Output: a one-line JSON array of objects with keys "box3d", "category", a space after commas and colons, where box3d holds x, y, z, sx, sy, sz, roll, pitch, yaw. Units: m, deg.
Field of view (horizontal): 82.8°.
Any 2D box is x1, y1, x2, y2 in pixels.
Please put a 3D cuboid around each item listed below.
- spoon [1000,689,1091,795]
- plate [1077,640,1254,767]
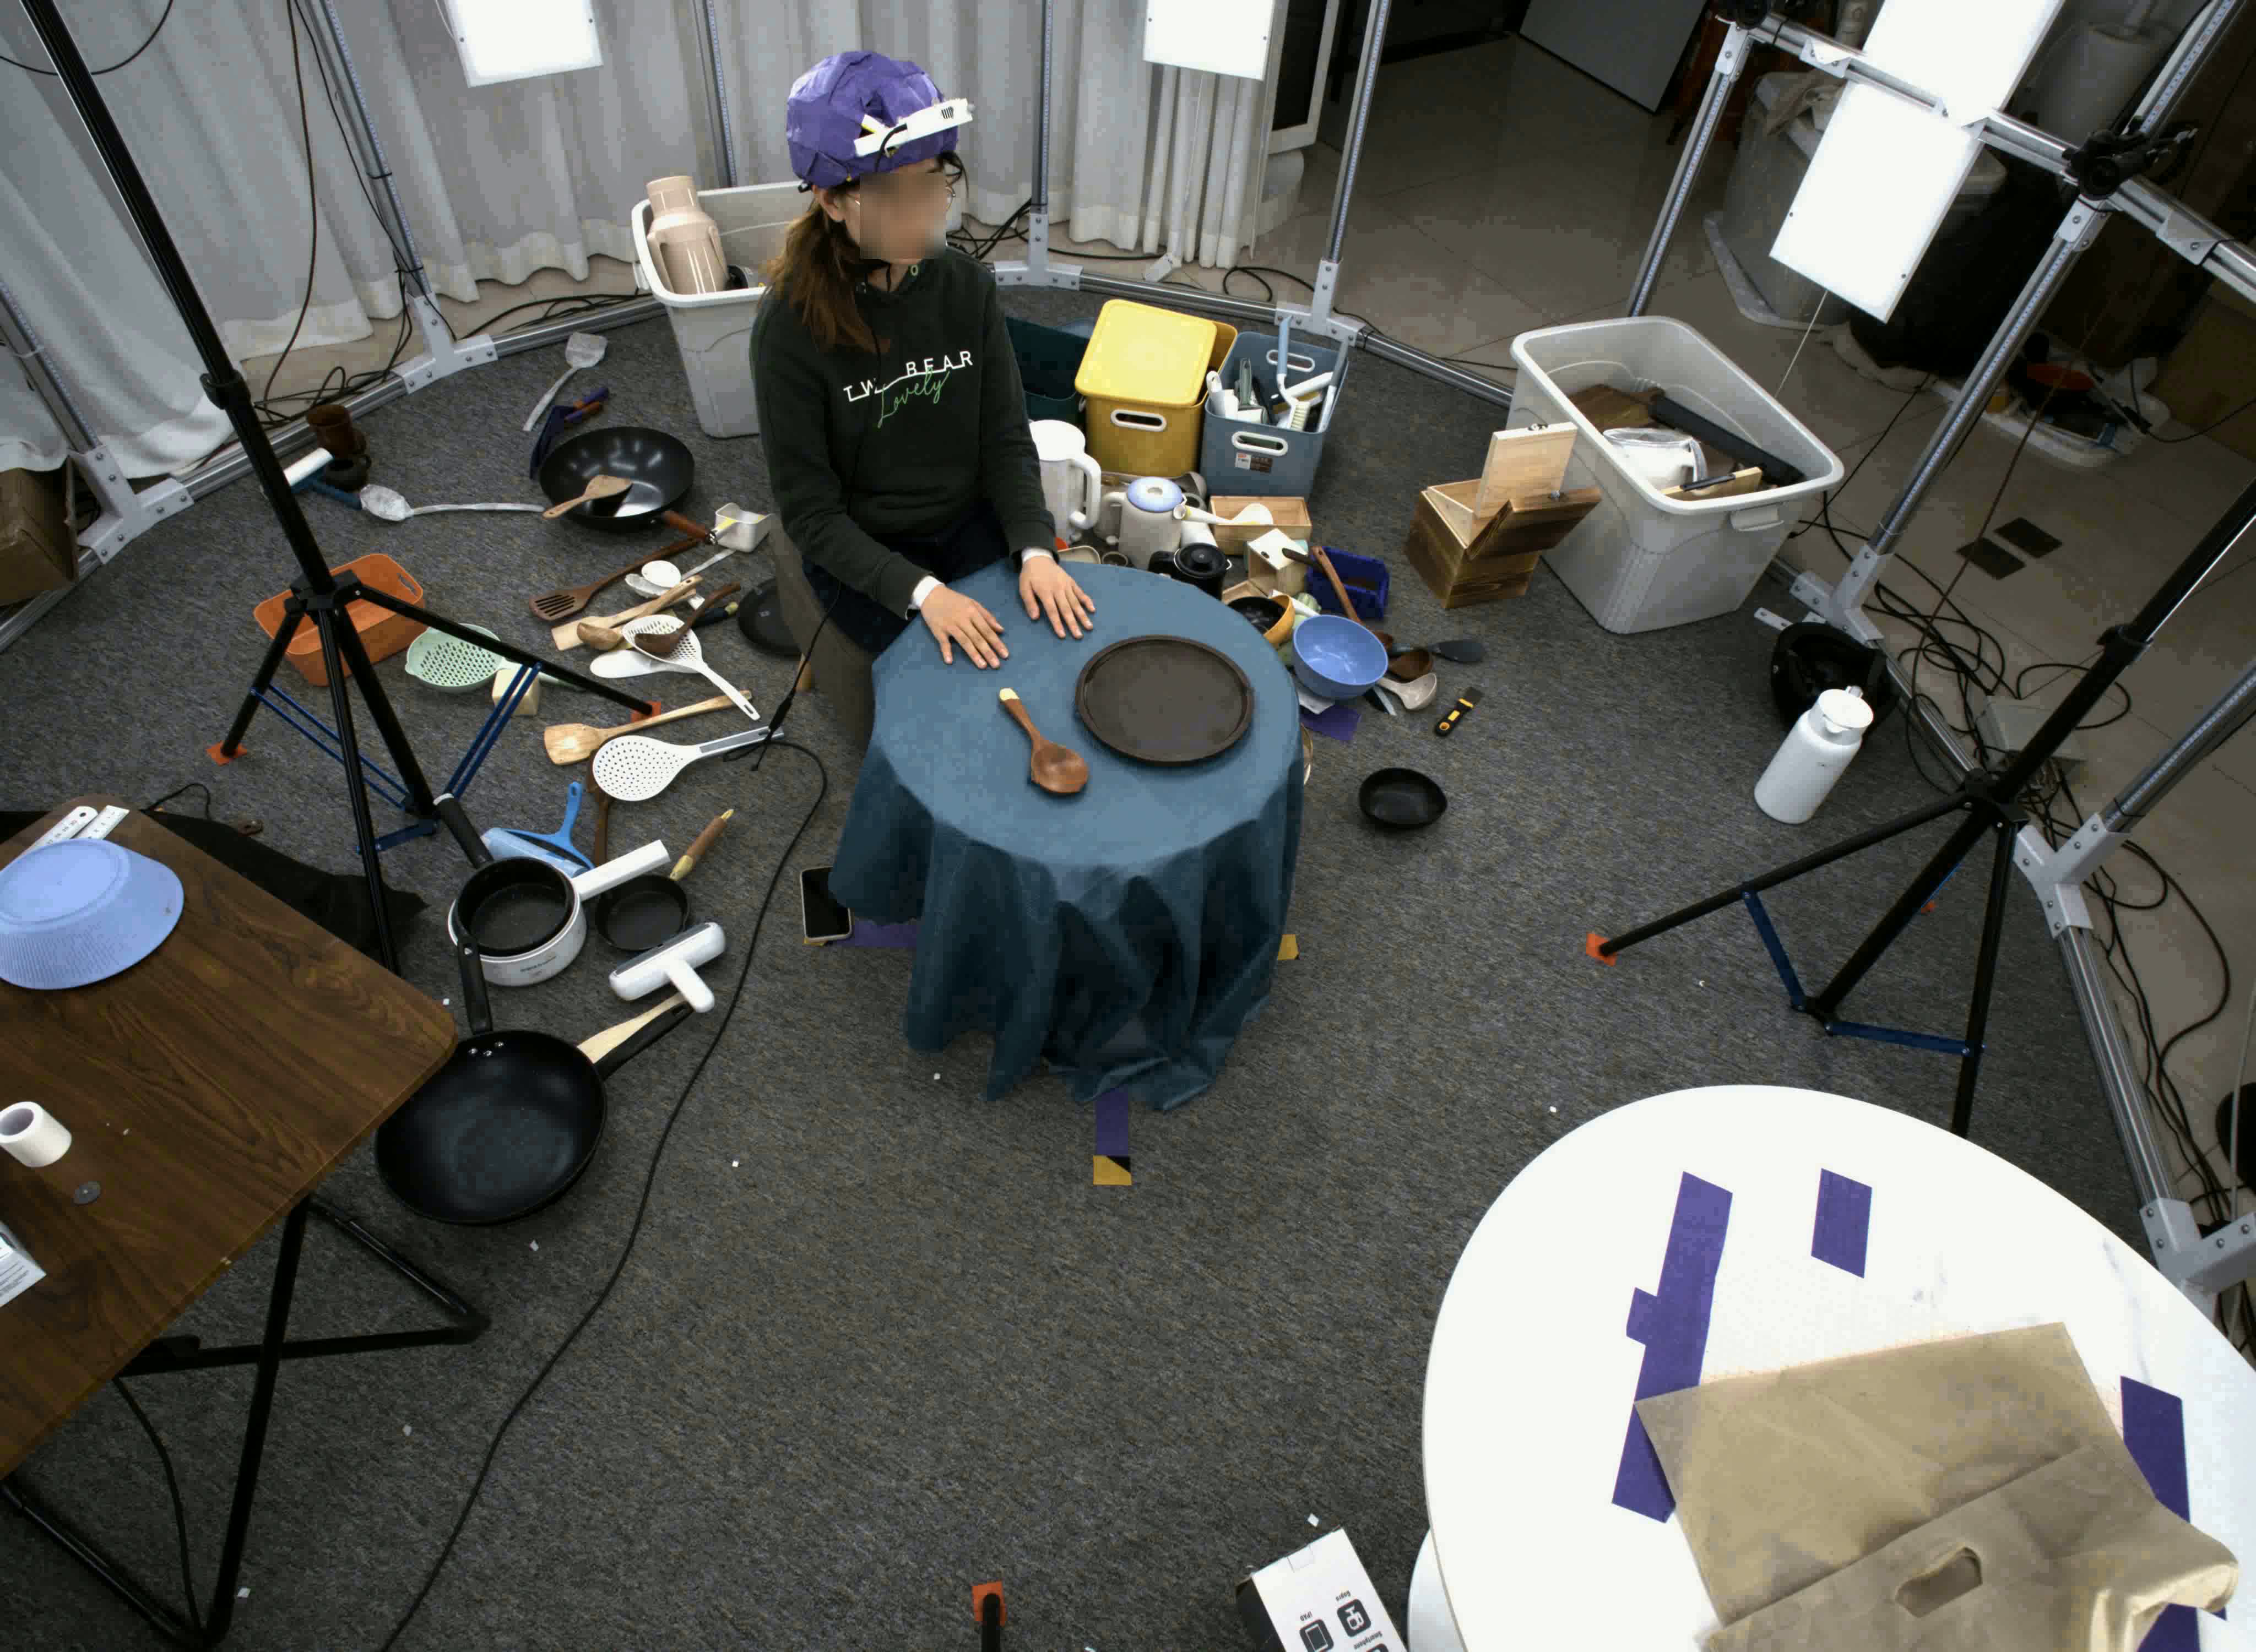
[{"box3d": [-0.121, -0.117, 1.766, 0.075, 0.017, 0.220, -21, 53, -20], "category": "spoon"}, {"box3d": [0.053, -0.177, 1.828, 0.254, 0.028, 0.261, 3, 49, -3], "category": "plate"}]
